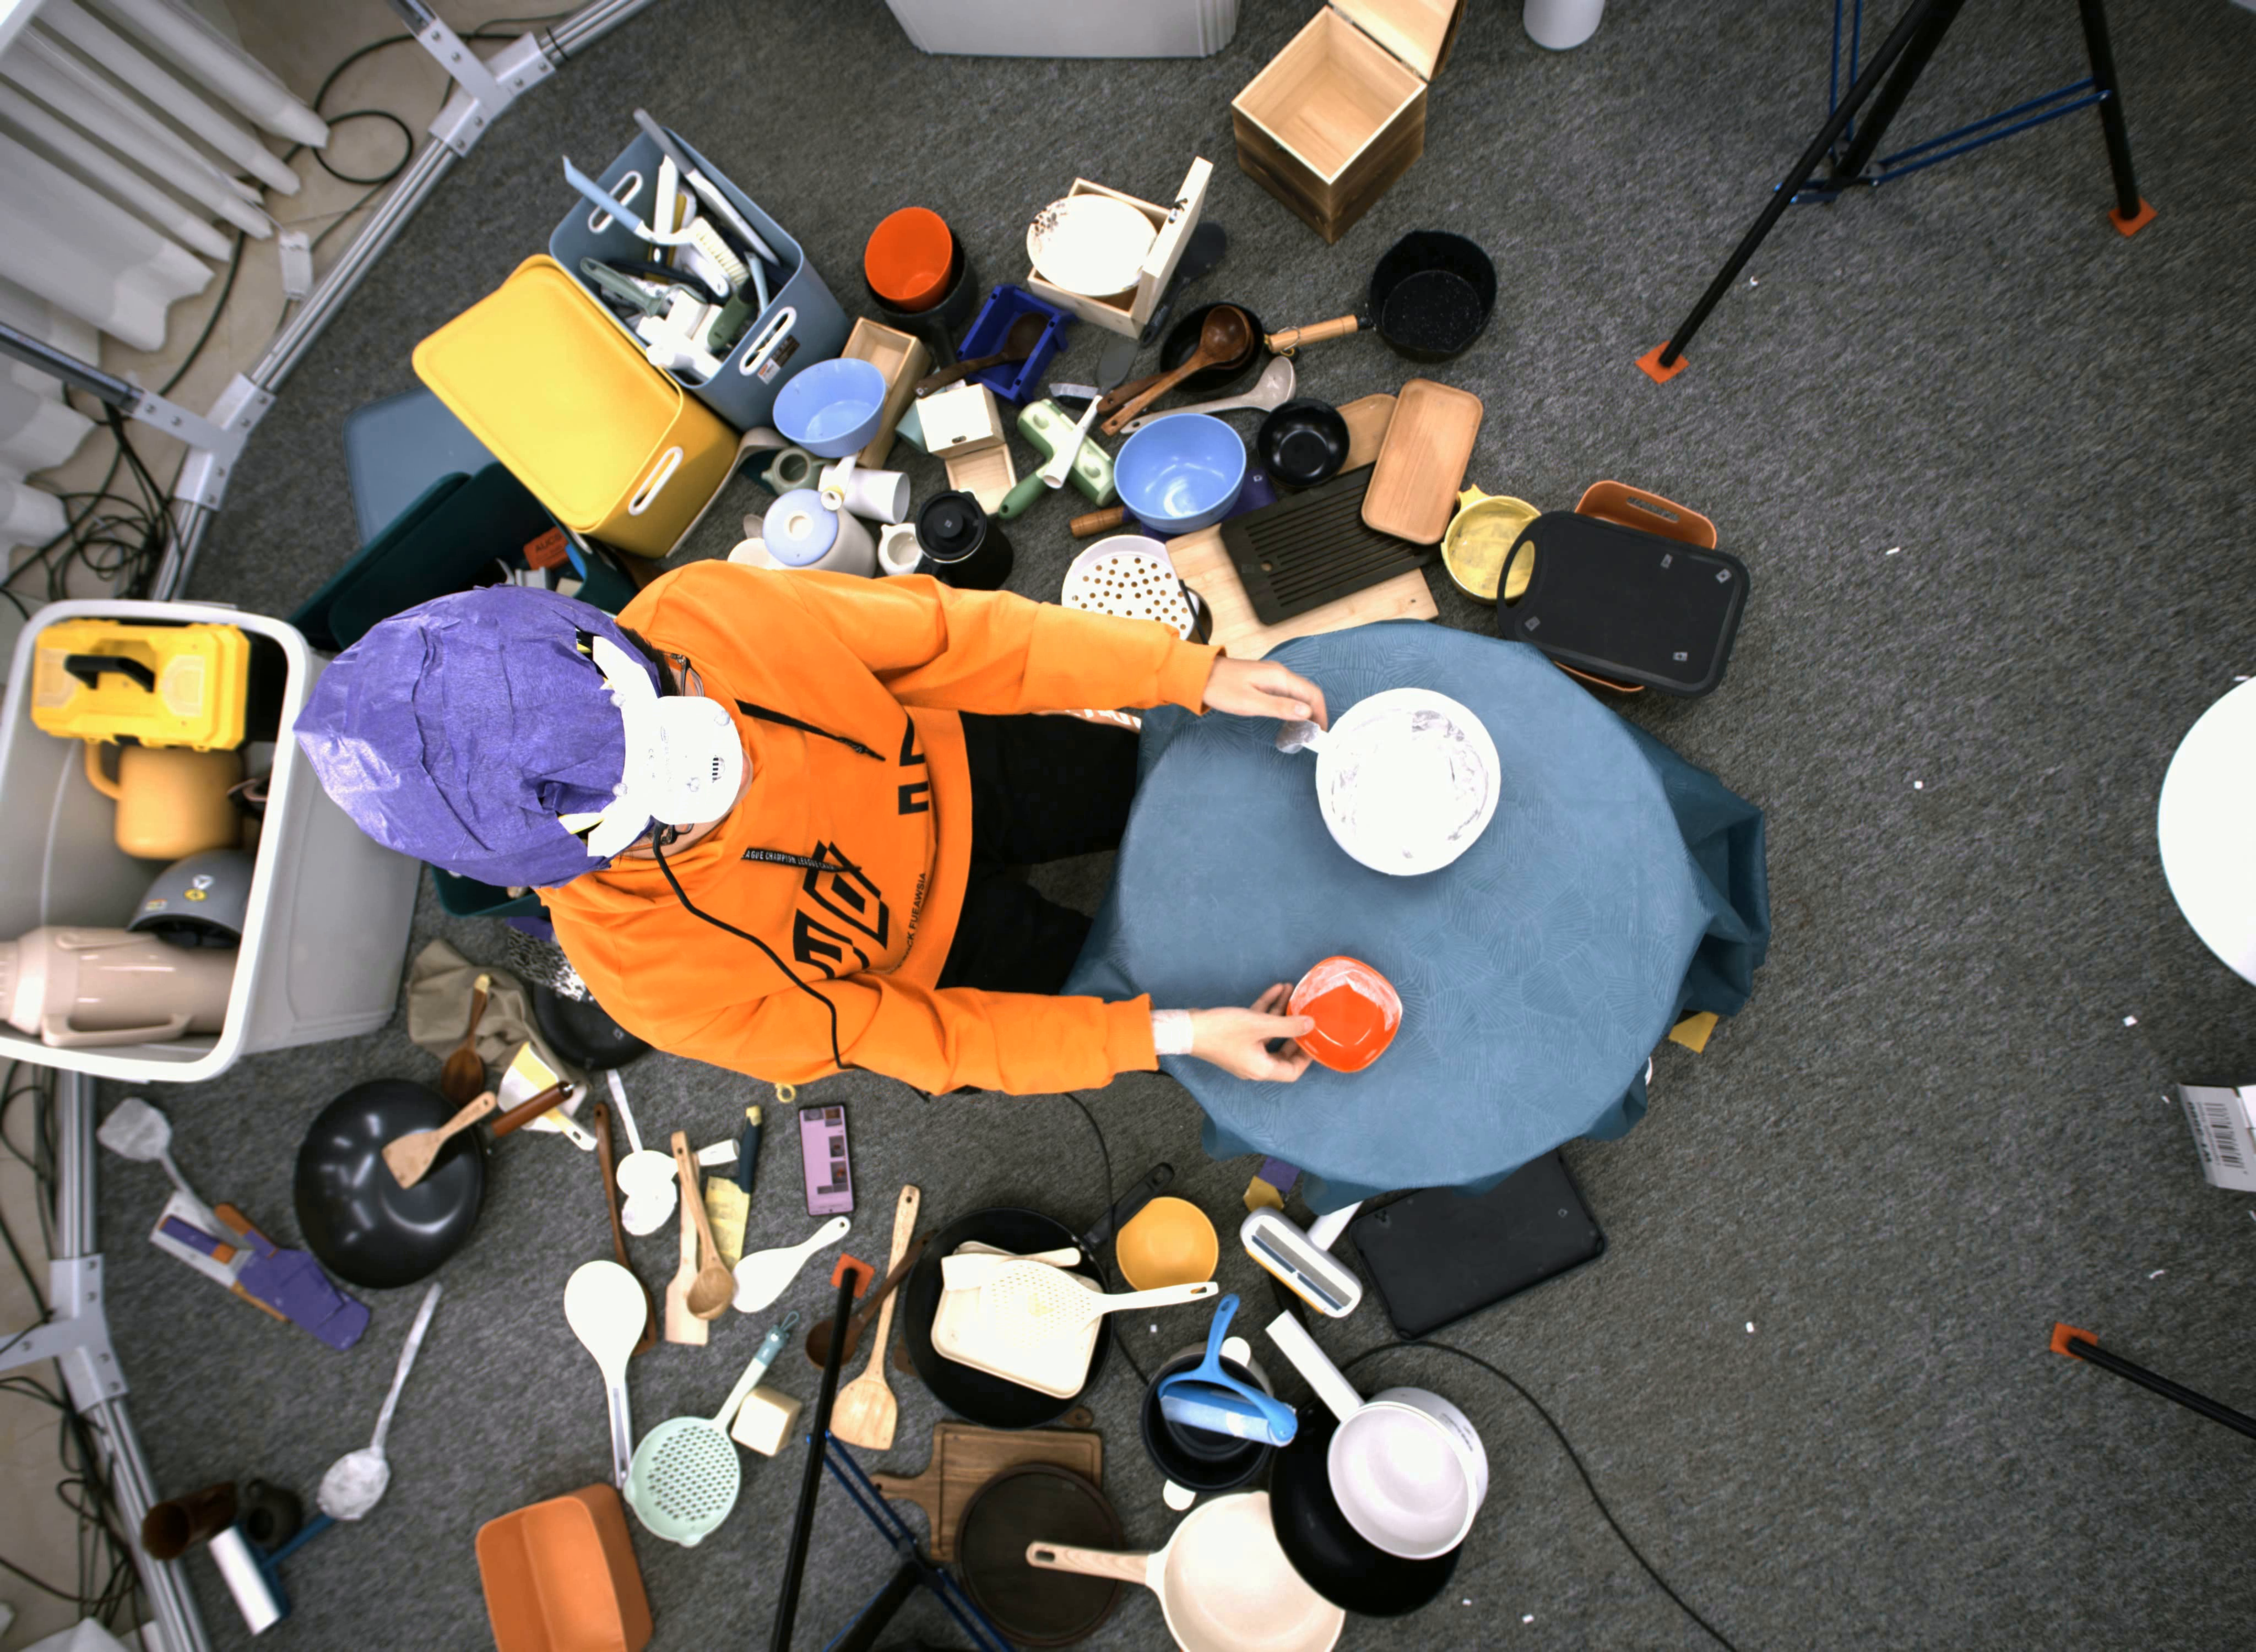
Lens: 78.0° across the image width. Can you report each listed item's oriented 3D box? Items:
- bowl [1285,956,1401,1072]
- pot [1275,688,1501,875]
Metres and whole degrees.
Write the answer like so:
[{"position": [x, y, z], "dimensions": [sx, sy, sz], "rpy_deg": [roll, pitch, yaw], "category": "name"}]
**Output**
[{"position": [0.223, 0.192, 1.436], "dimensions": [0.119, 0.051, 0.118], "rpy_deg": [-1, 87, 10], "category": "bowl"}, {"position": [0.256, -0.053, 1.400], "dimensions": [0.233, 0.137, 0.178], "rpy_deg": [25, 90, 11], "category": "pot"}]
